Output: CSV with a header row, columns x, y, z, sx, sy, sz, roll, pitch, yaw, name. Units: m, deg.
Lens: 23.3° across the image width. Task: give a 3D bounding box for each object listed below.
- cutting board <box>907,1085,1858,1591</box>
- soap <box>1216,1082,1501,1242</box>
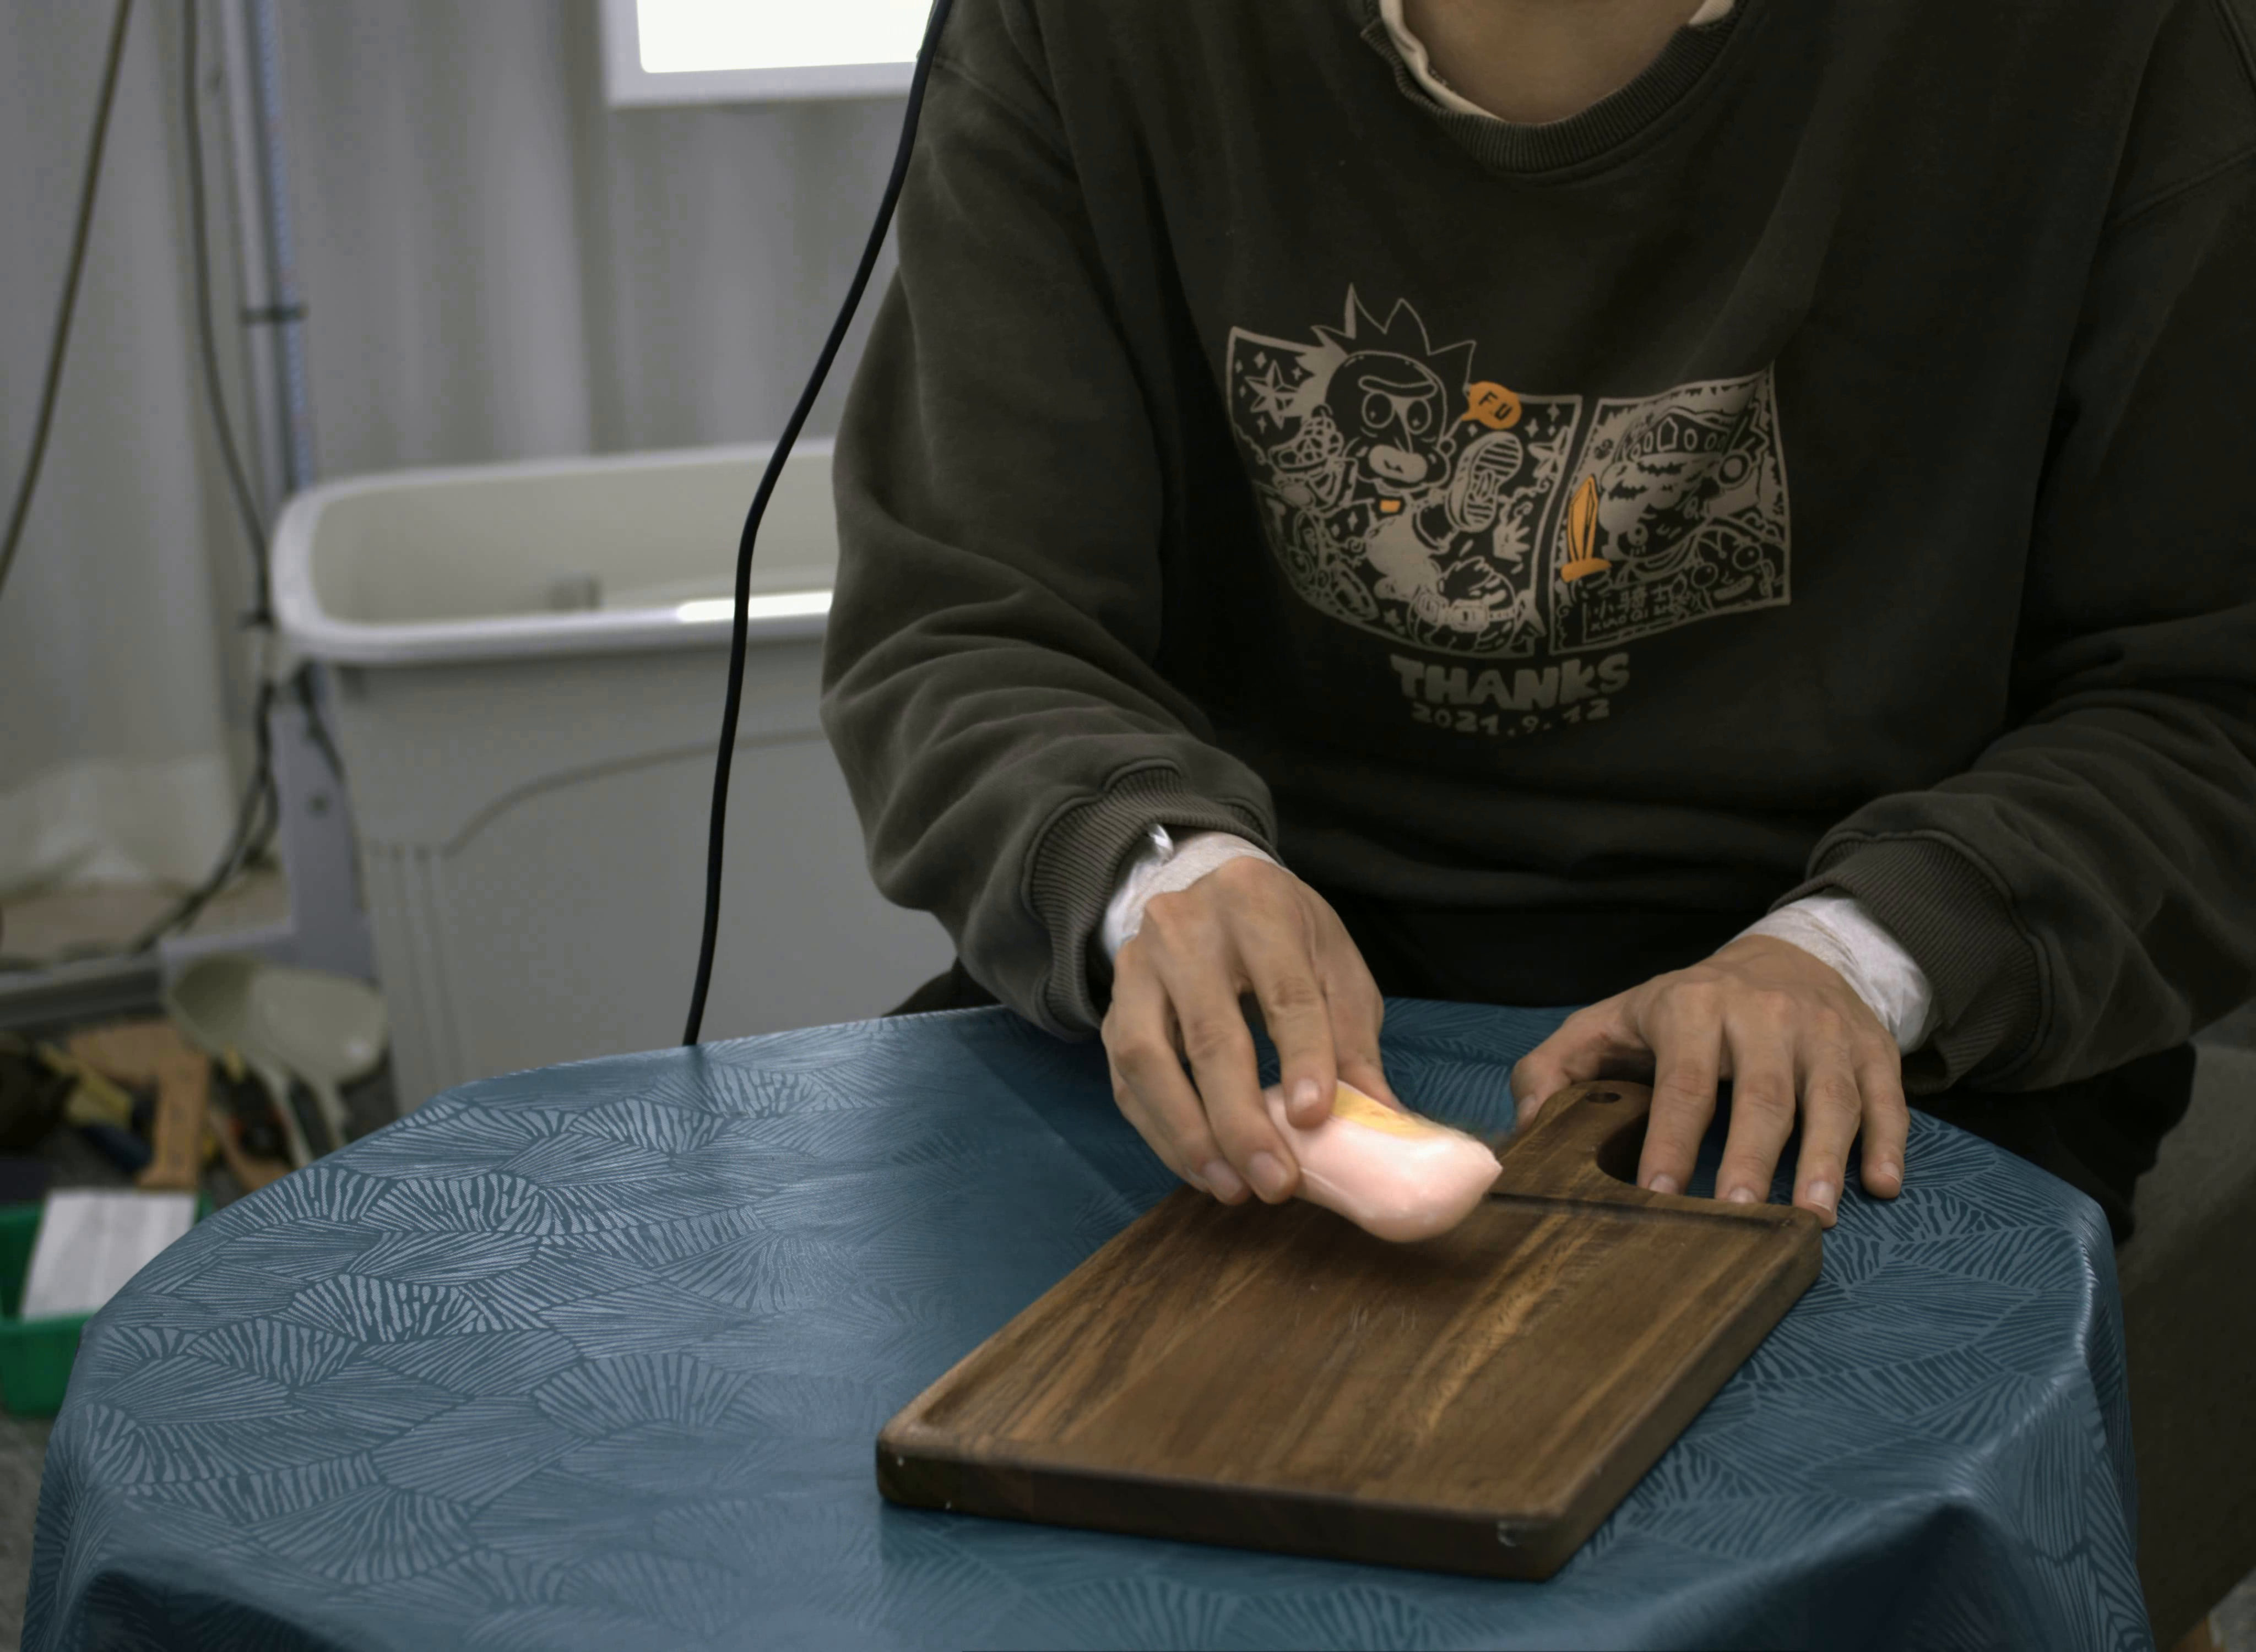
x,y,z,sx,sy,sz,roll,pitch,yaw,name
0.097,0.137,1.581,0.201,0.023,0.353,4,16,24,cutting board
0.067,0.099,1.612,0.050,0.030,0.095,-14,19,-35,soap
